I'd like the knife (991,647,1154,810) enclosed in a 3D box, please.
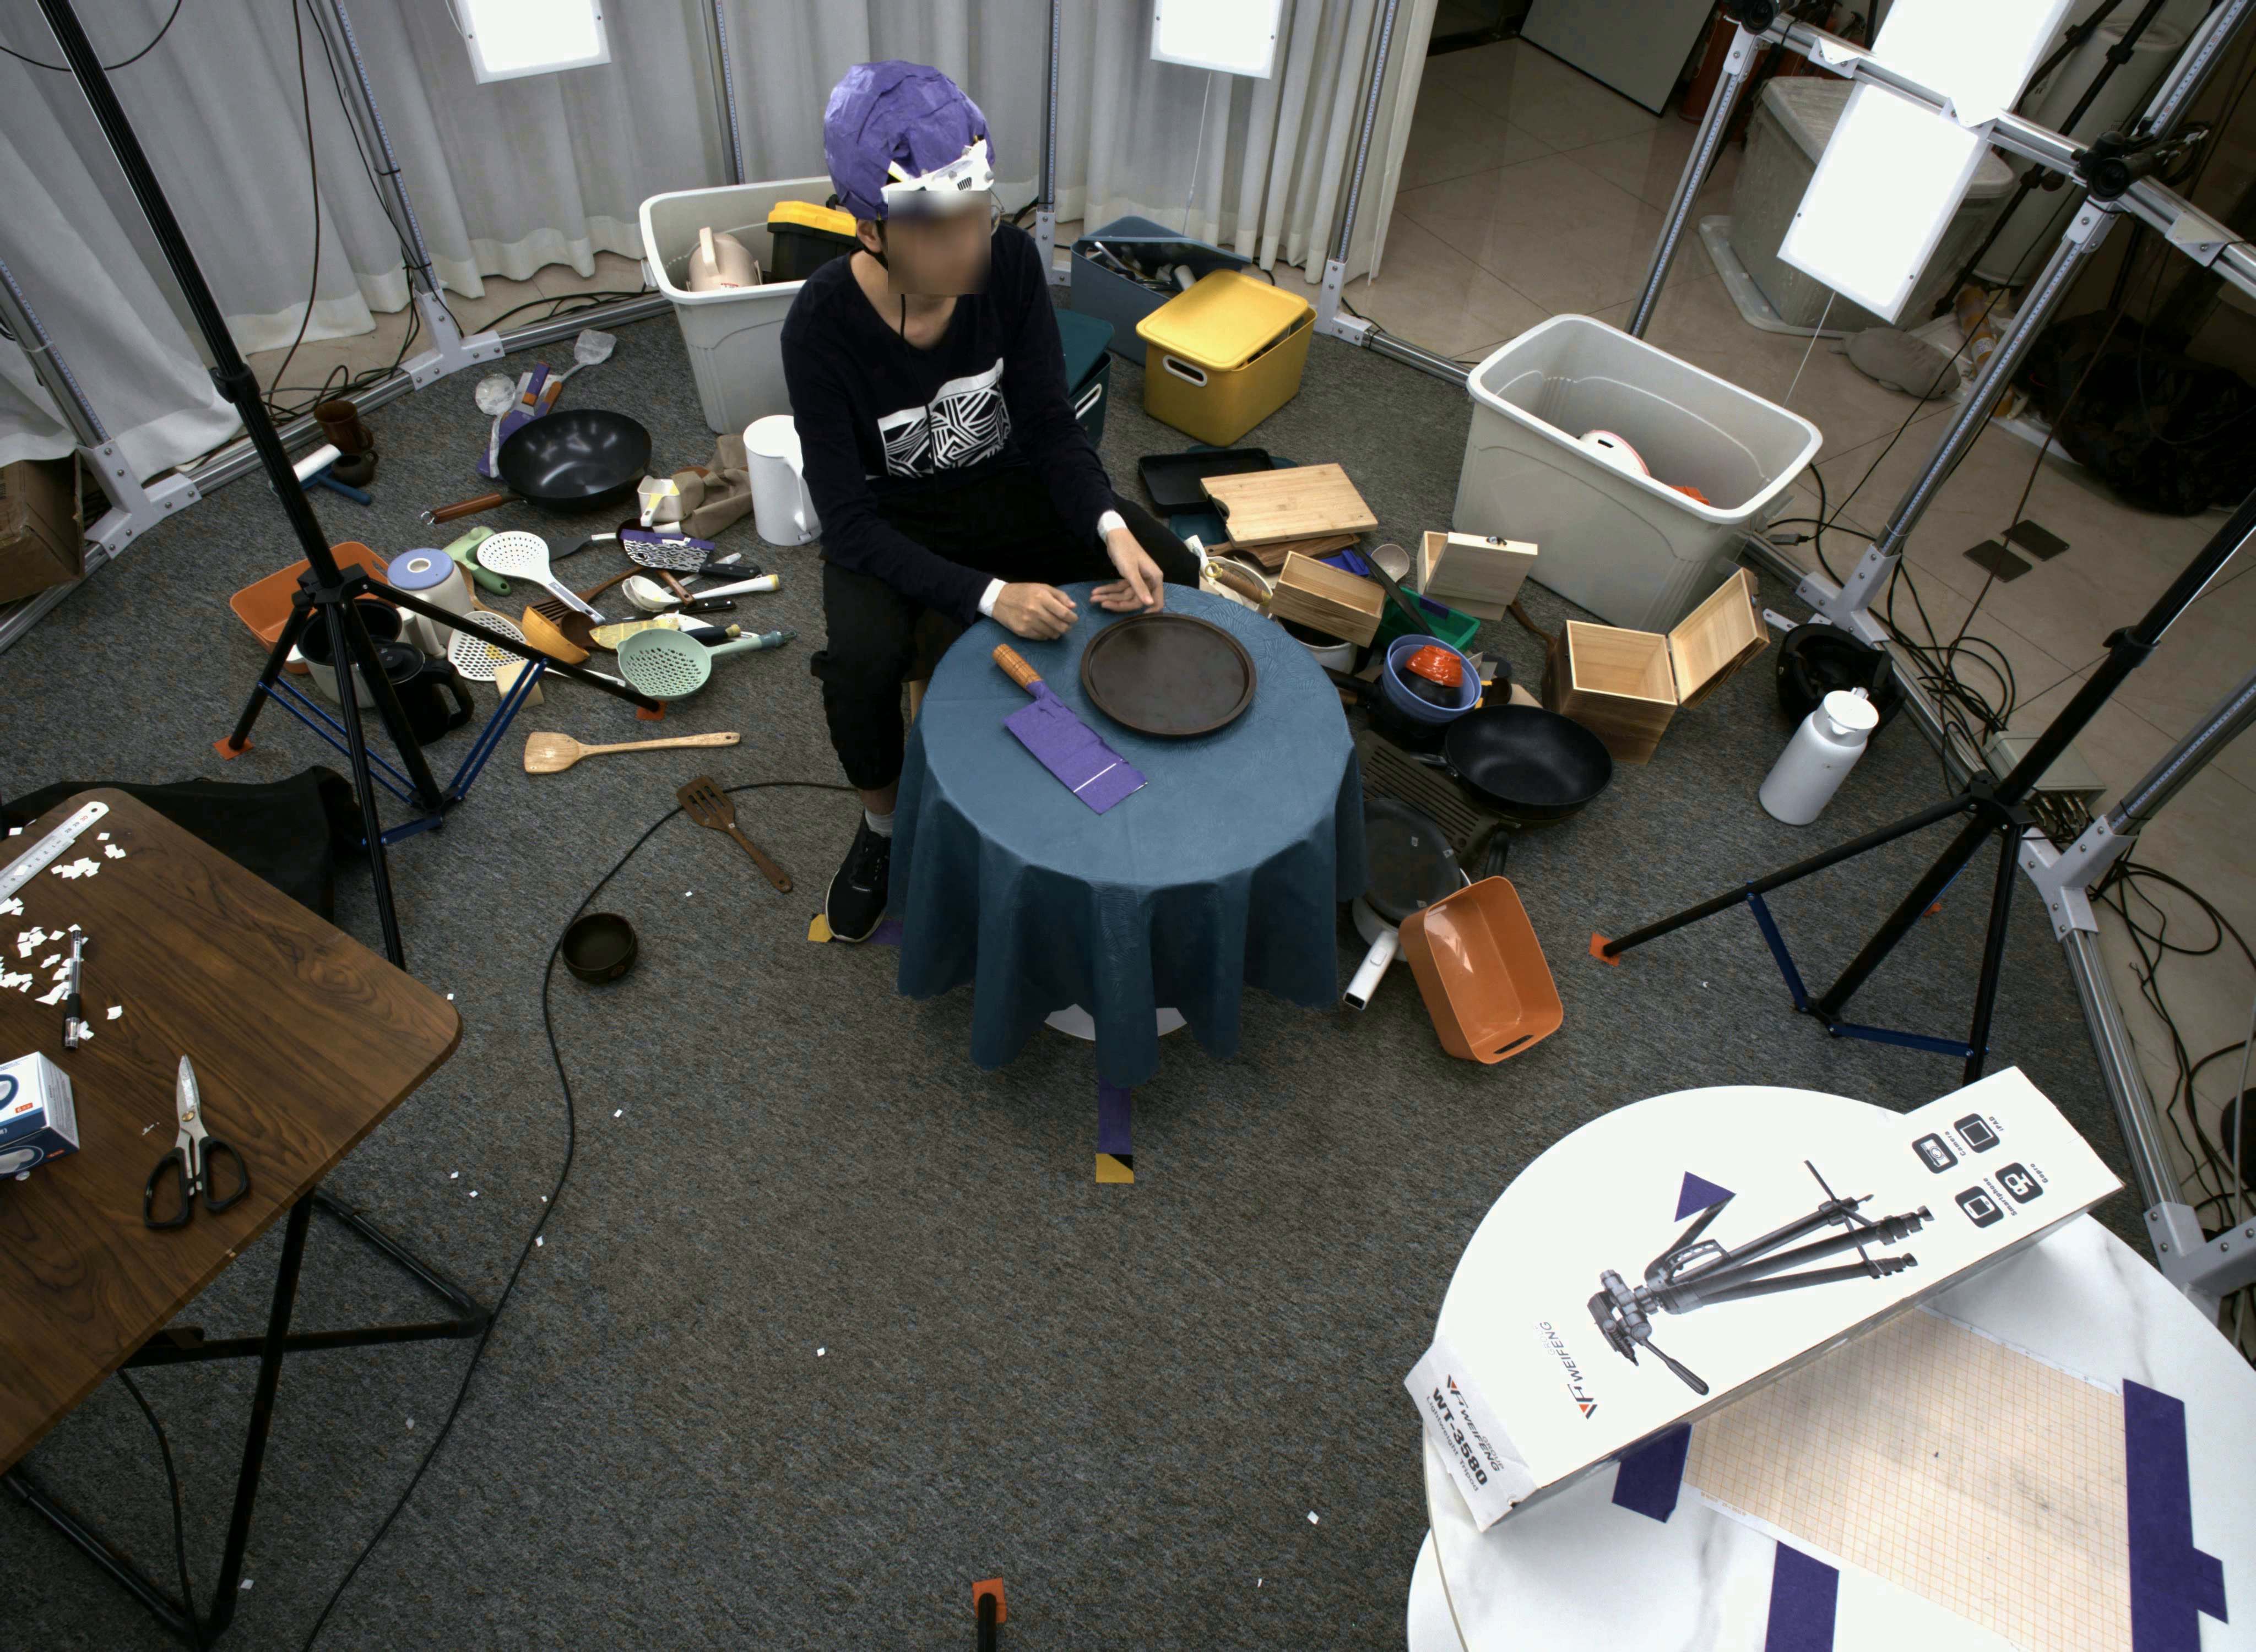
[{"bbox_3d":[-0.105,-0.138,1.762,0.104,0.031,0.320,-32,59,-28],"label":"knife"}]

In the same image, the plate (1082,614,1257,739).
[{"bbox_3d":[0.059,-0.217,1.844,0.254,0.028,0.261,2,49,-3],"label":"plate"}]
